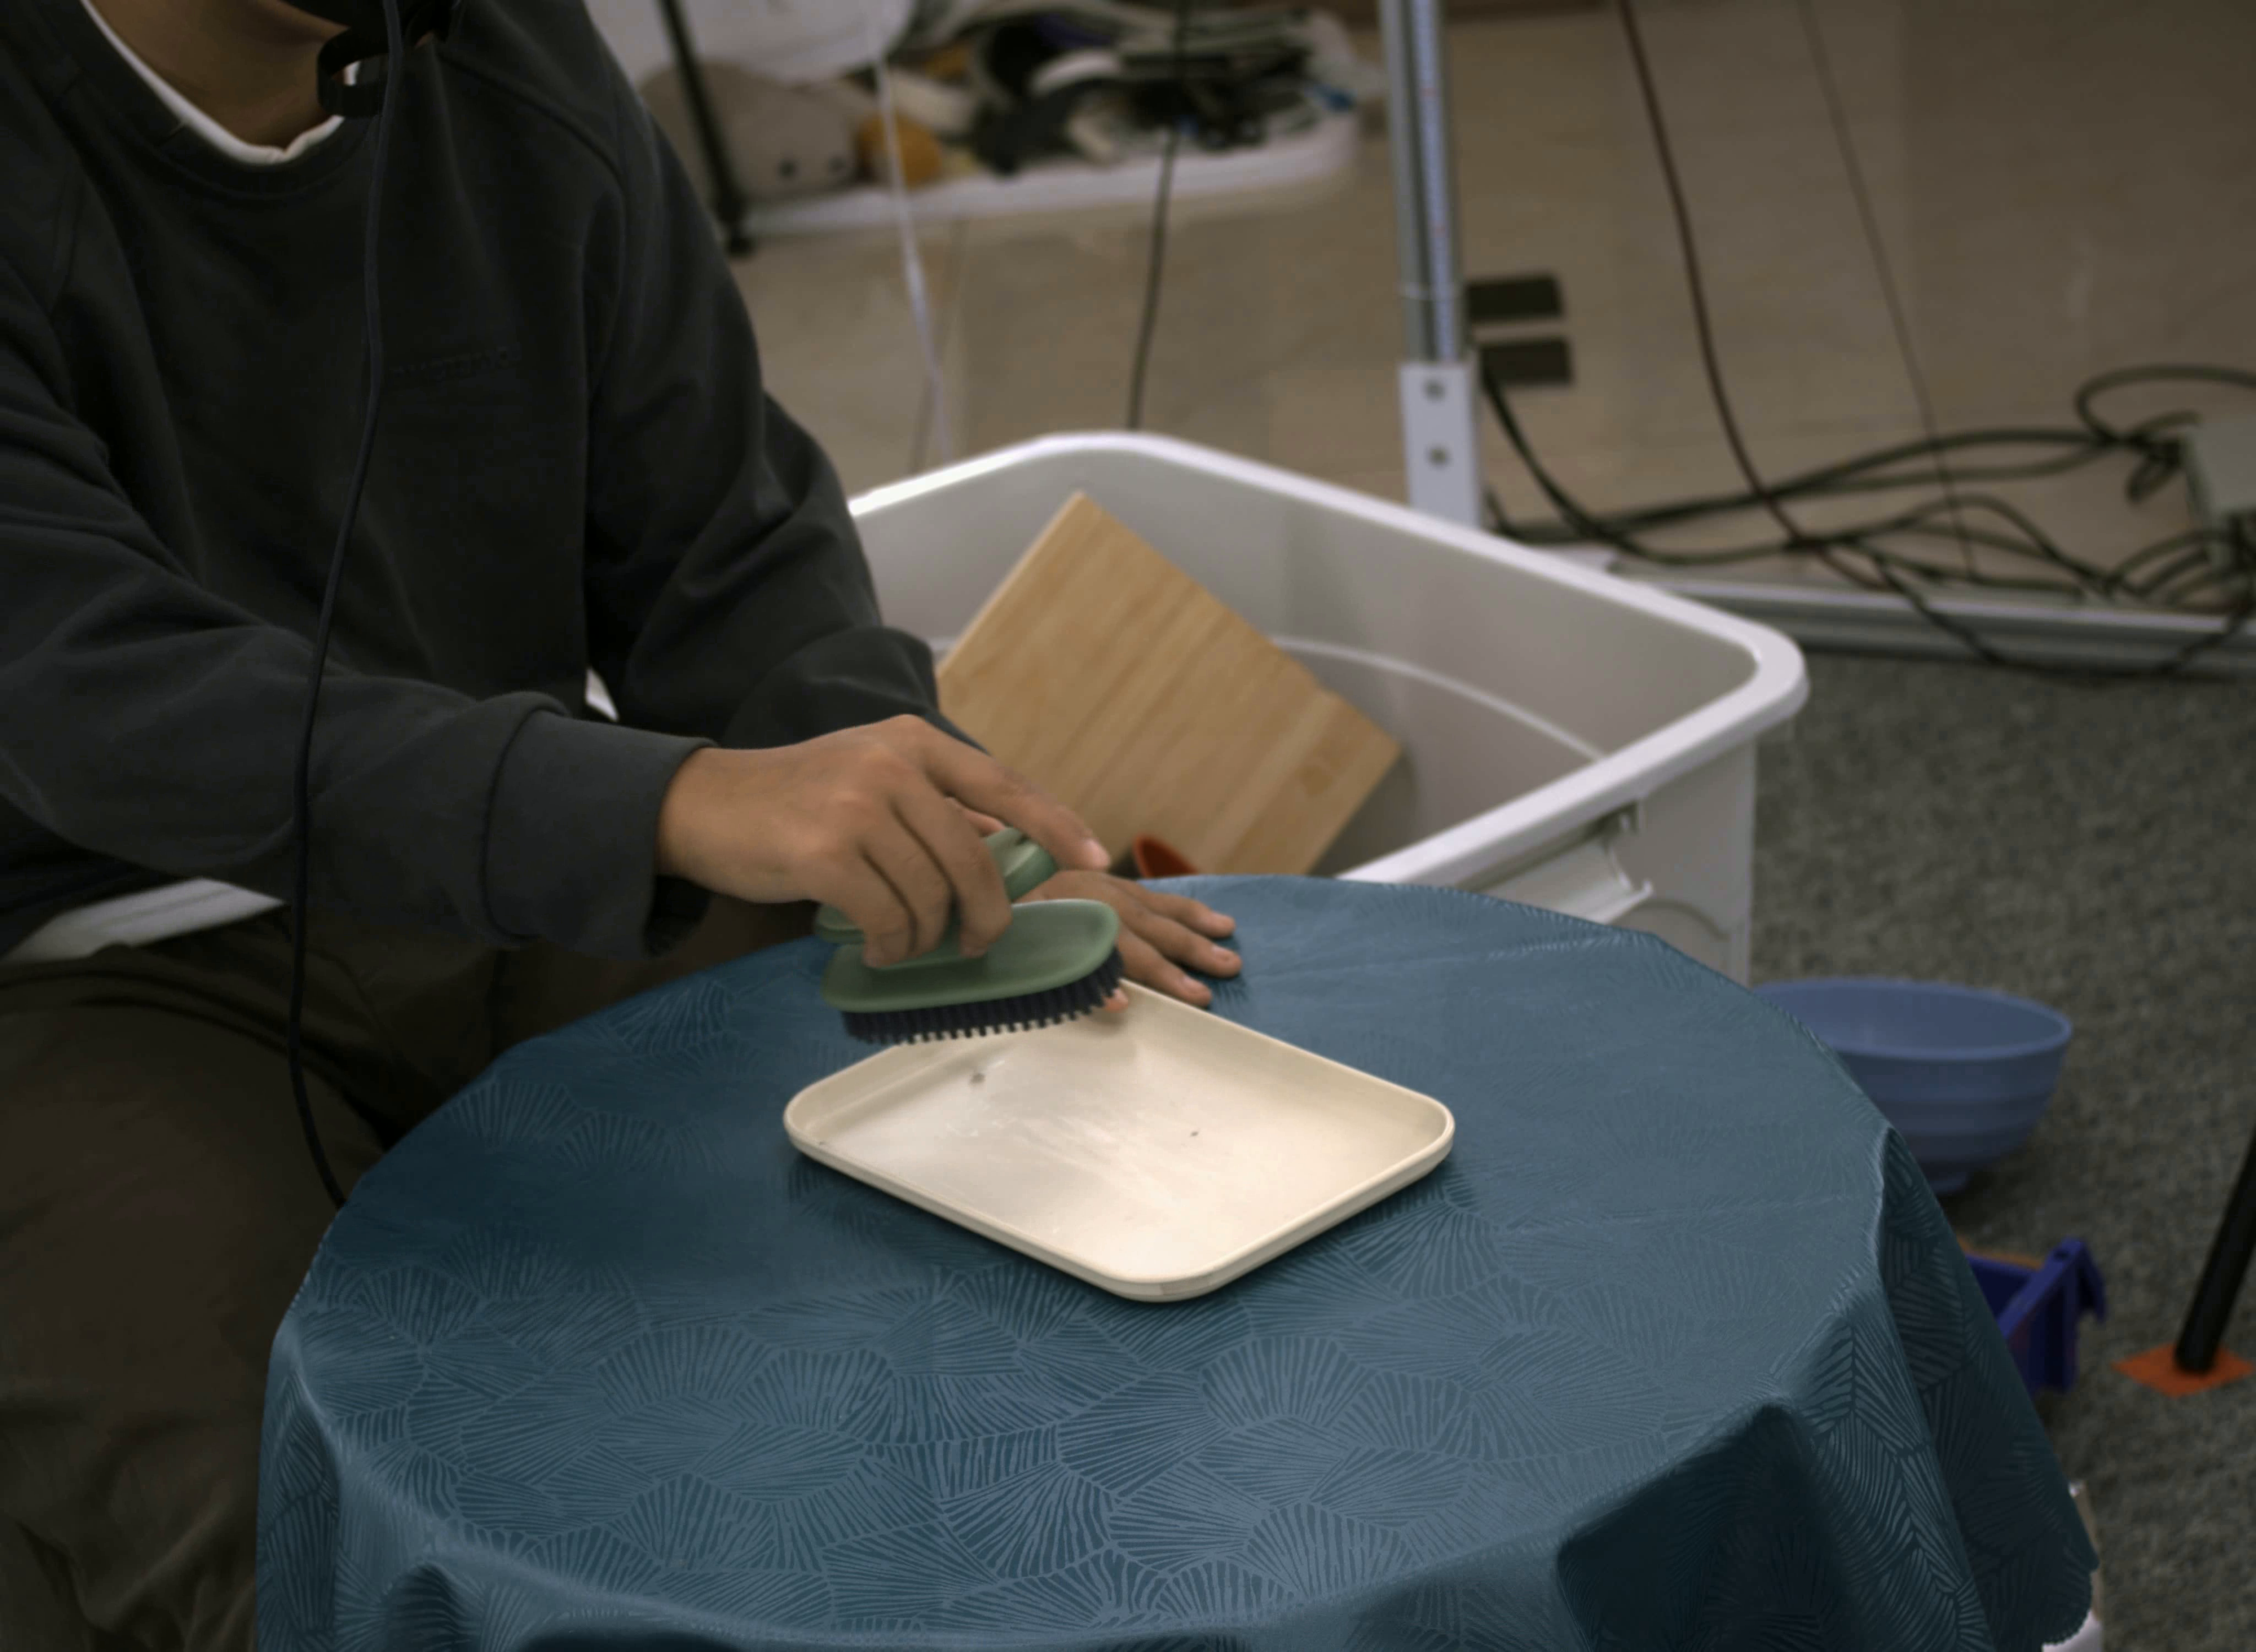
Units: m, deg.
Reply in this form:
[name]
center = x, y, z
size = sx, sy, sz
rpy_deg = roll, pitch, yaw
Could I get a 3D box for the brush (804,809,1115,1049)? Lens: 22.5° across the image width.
[brush]
center = -0.063, 0.044, 2.137
size = 0.123, 0.077, 0.058
rpy_deg = -21, 26, 25

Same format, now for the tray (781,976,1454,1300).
[tray]
center = -0.005, 0.118, 2.173
size = 0.170, 0.018, 0.238
rpy_deg = -25, 30, -36
